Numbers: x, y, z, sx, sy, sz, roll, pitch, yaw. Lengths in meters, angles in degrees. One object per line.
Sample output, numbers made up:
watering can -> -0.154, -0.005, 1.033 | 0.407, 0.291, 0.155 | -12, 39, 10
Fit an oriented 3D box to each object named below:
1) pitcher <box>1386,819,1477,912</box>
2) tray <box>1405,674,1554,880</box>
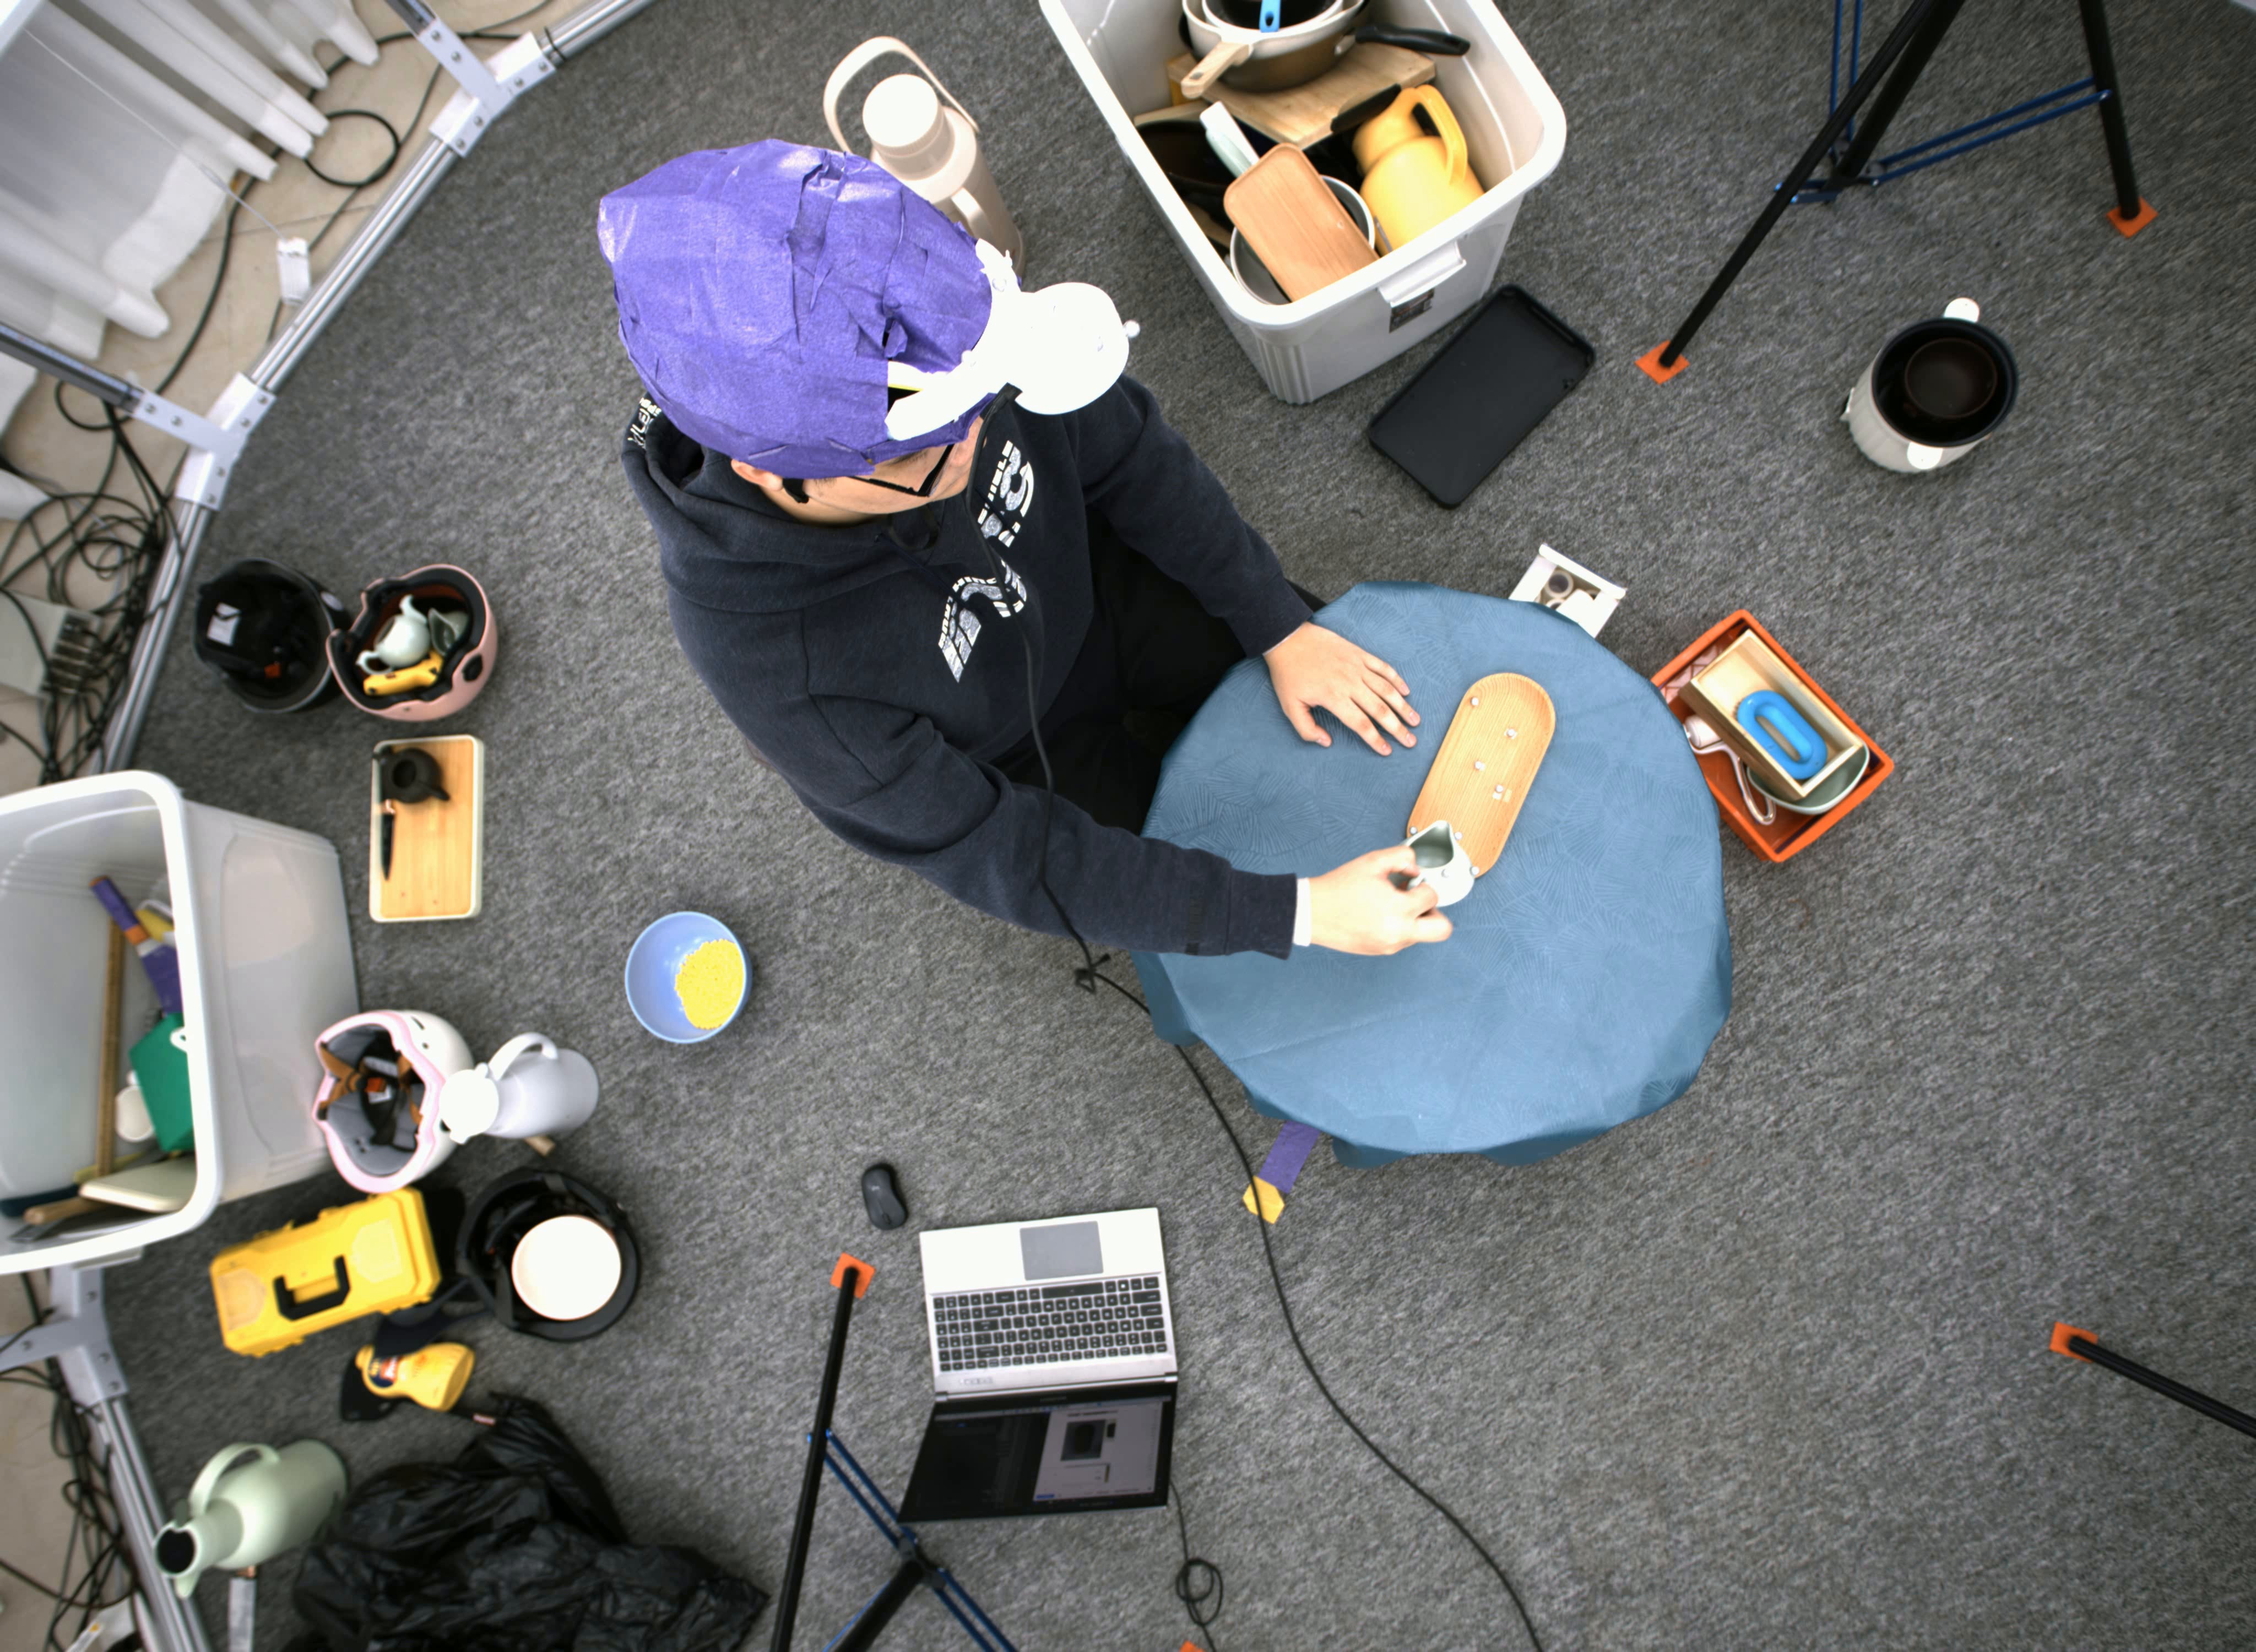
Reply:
pitcher -> 0.287, 0.045, 1.314 | 0.086, 0.062, 0.105 | 12, 46, 22
tray -> 0.369, -0.051, 1.441 | 0.101, 0.020, 0.231 | 24, 93, 13
